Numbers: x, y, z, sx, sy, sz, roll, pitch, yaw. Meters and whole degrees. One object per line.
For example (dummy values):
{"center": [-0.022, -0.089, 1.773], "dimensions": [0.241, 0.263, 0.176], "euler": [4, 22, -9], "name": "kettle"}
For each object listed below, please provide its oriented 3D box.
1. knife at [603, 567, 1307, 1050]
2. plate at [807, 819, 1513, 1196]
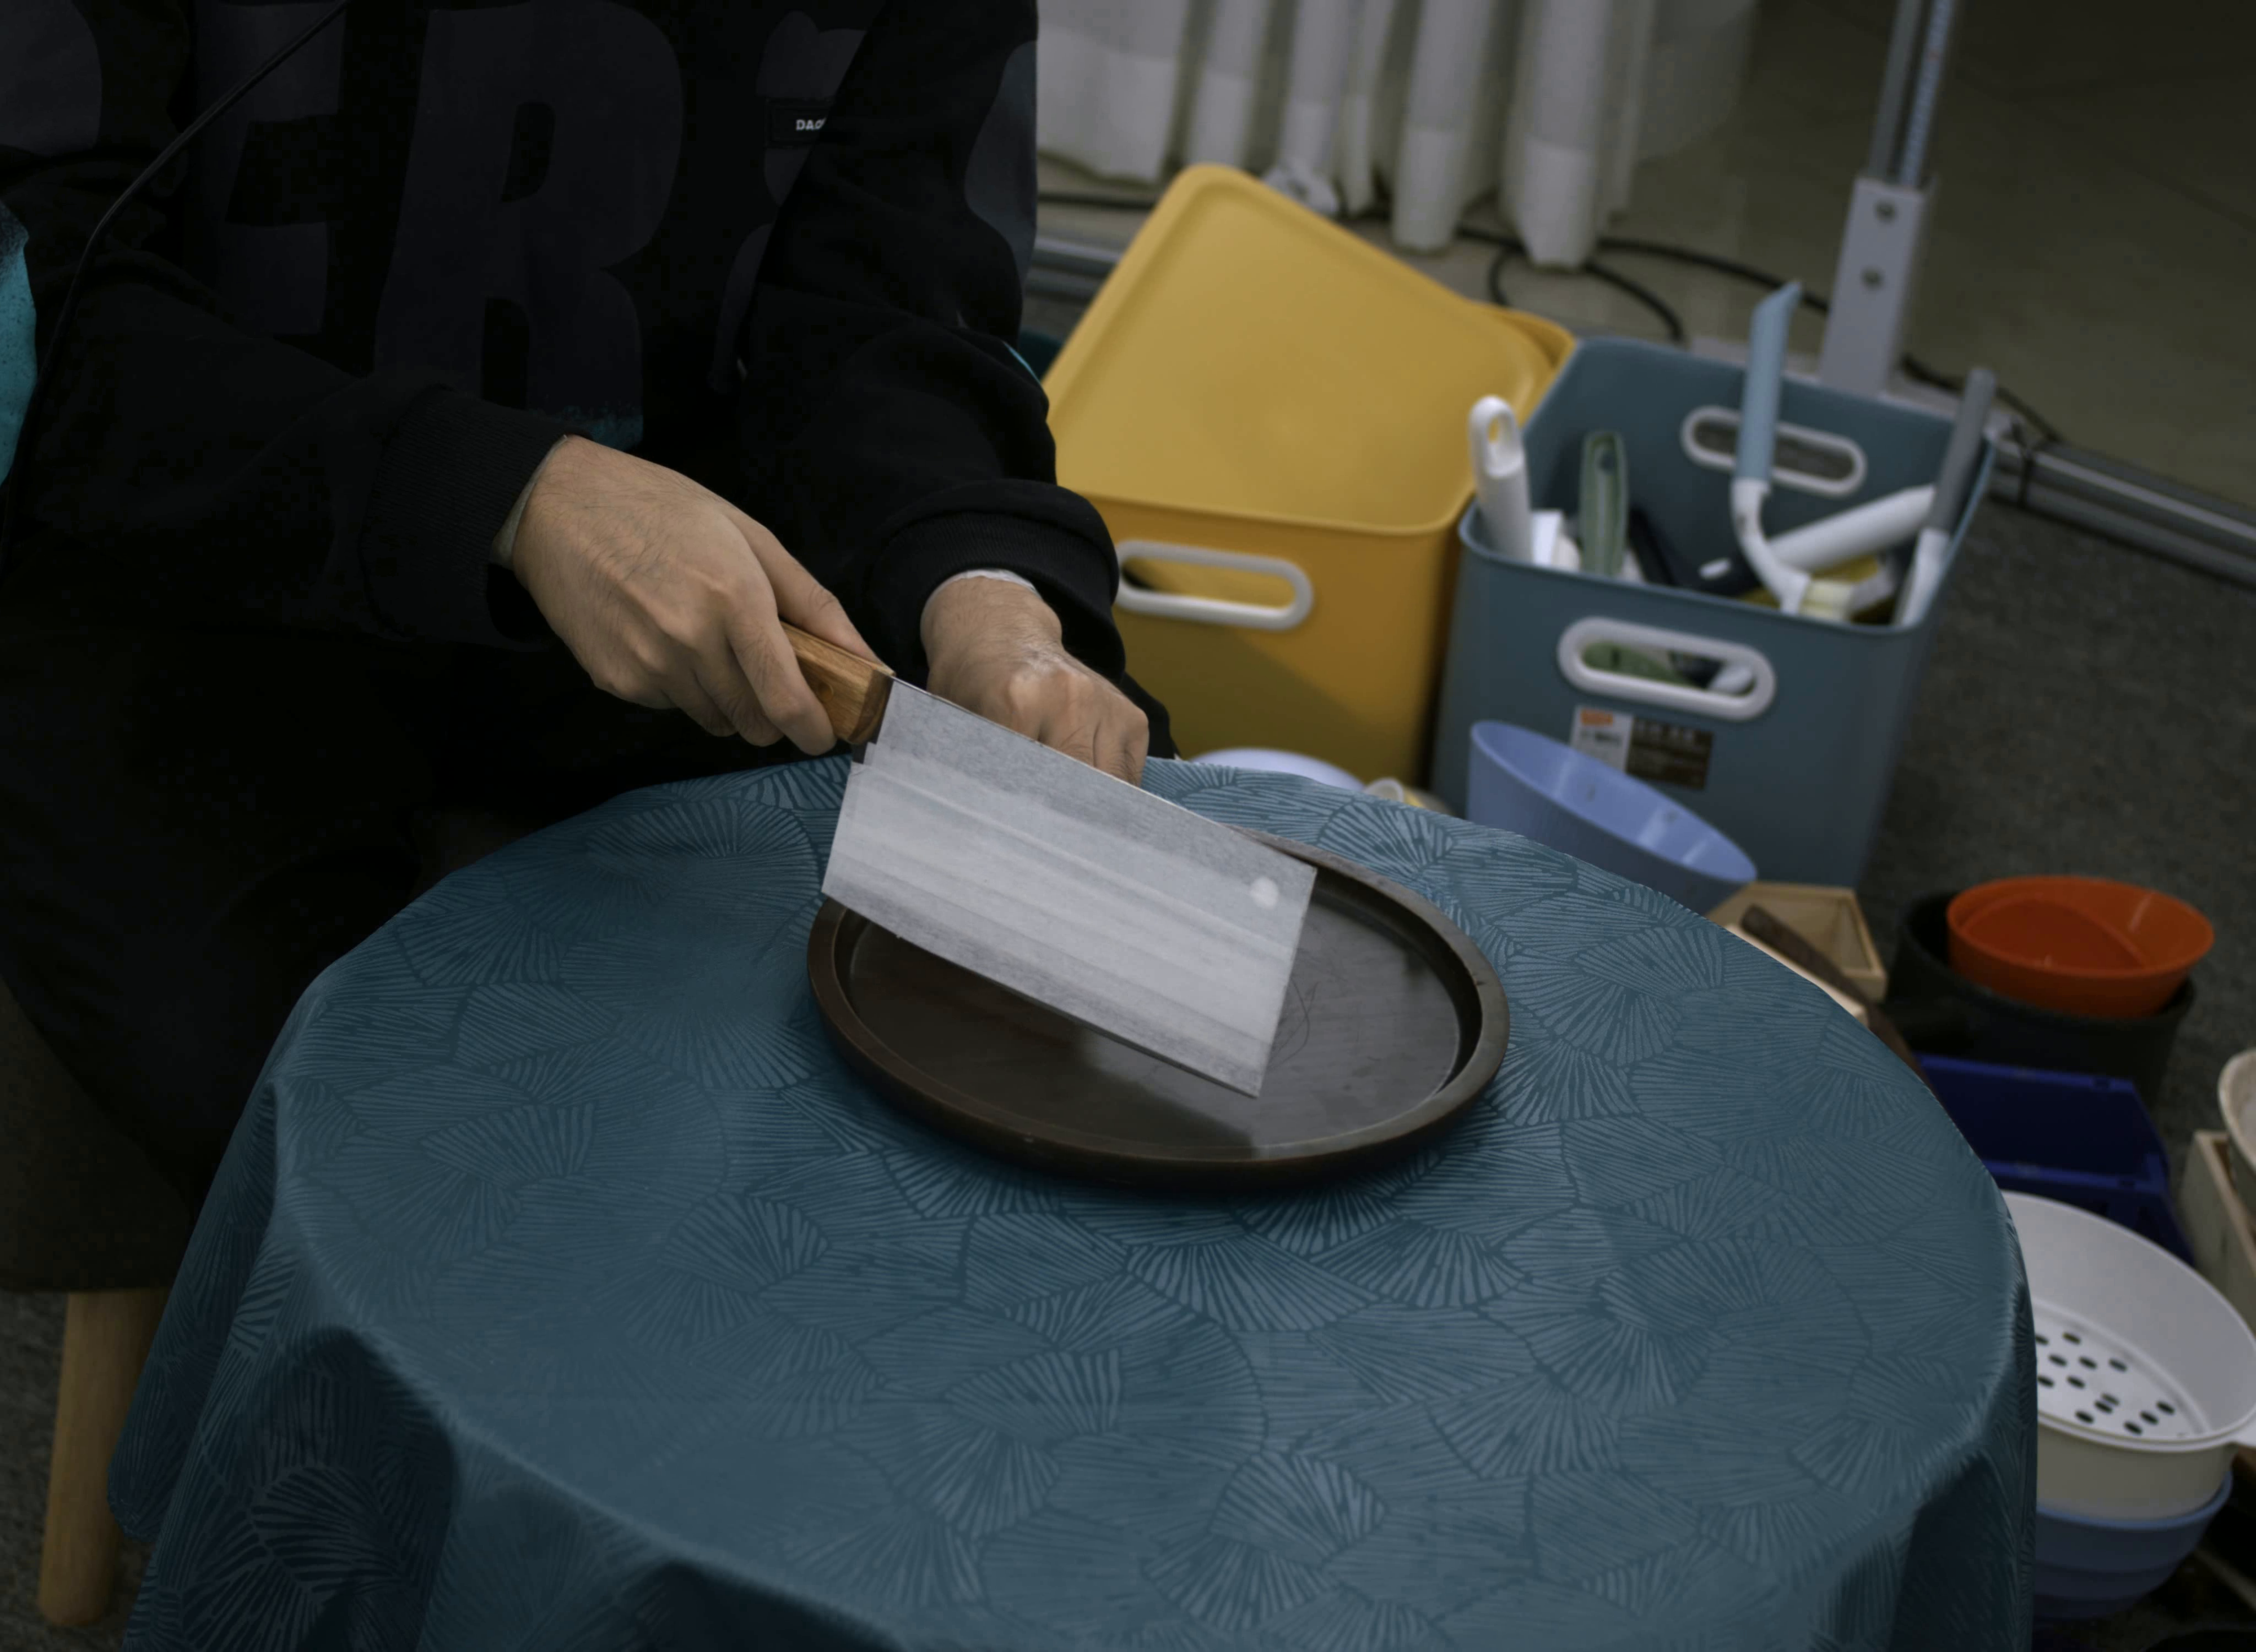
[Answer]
{"center": [-0.069, -0.004, 1.883], "dimensions": [0.307, 0.093, 0.021], "euler": [25, 24, 27], "name": "knife"}
{"center": [0.011, 0.062, 1.899], "dimensions": [0.254, 0.029, 0.256], "euler": [6, 26, -3], "name": "plate"}
